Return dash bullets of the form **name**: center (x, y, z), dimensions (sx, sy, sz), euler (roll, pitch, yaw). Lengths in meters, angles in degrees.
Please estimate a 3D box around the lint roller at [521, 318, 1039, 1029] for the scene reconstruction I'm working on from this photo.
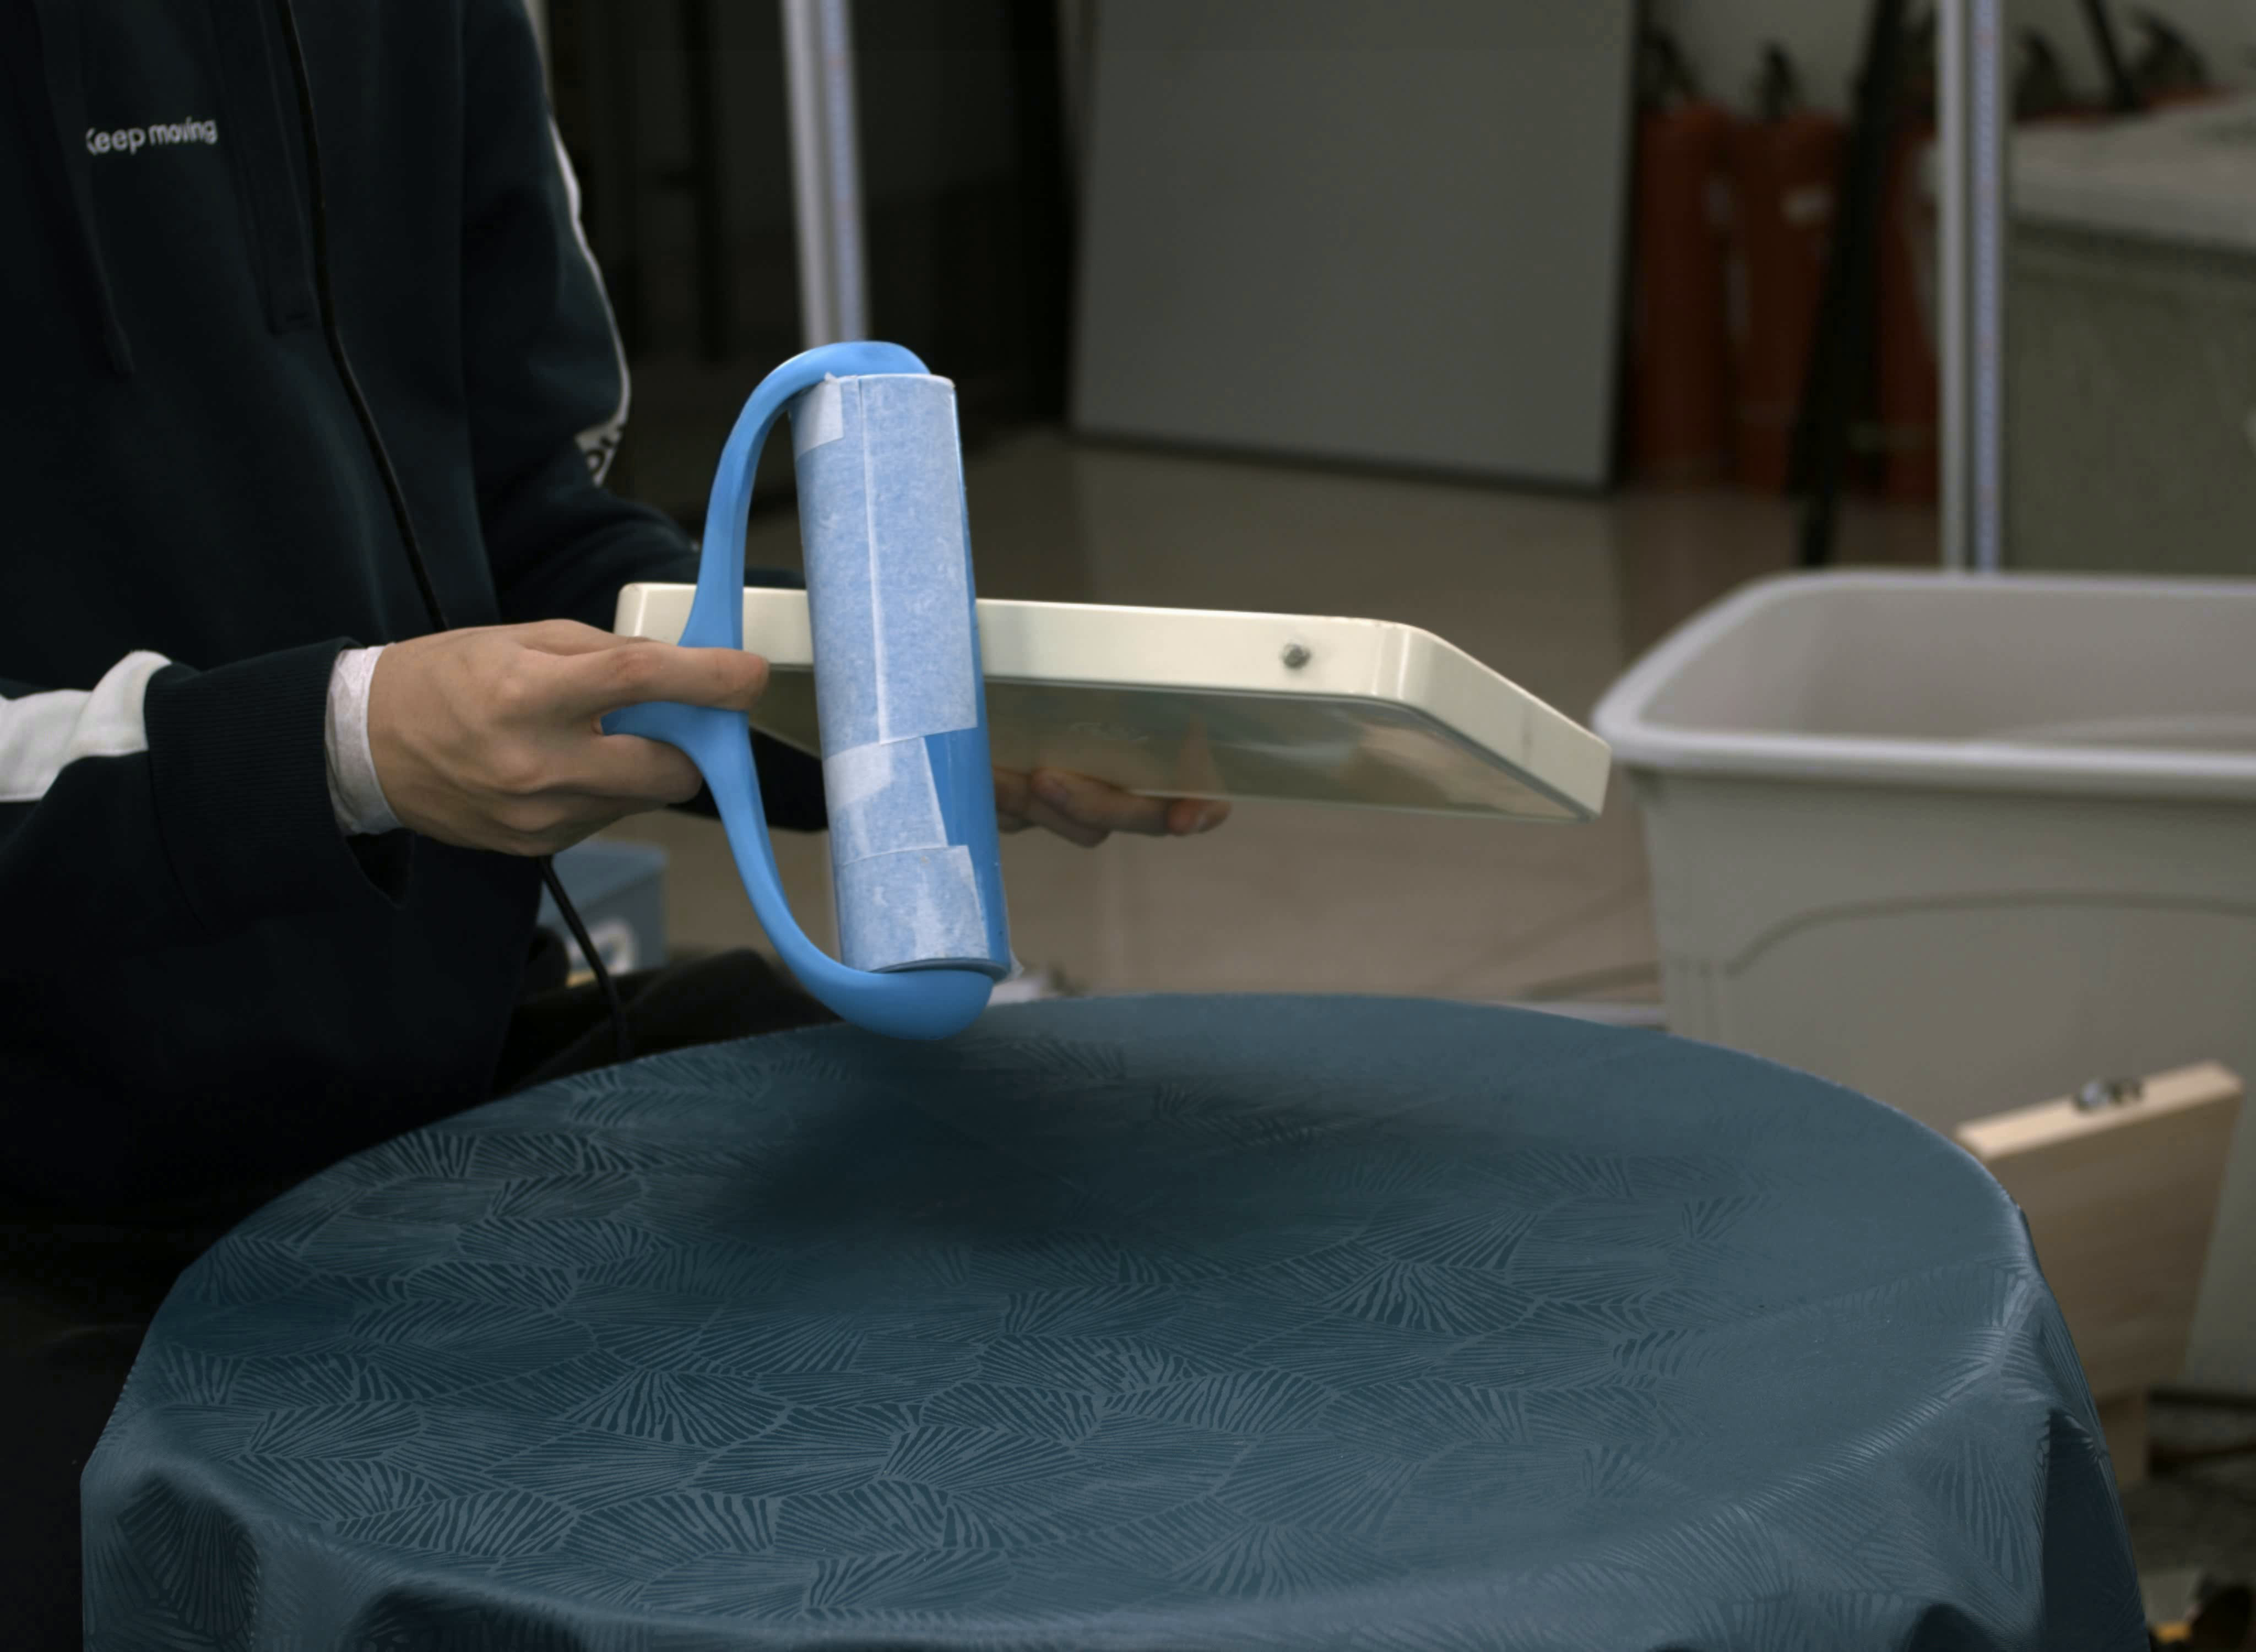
- **lint roller**: center (-0.122, -0.035, 1.718), dimensions (0.180, 0.232, 0.067), euler (-15, -14, 17)

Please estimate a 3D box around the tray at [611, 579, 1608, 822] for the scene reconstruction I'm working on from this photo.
- **tray**: center (-0.006, -0.041, 1.803), dimensions (0.301, 0.028, 0.188), euler (3, -12, 29)
